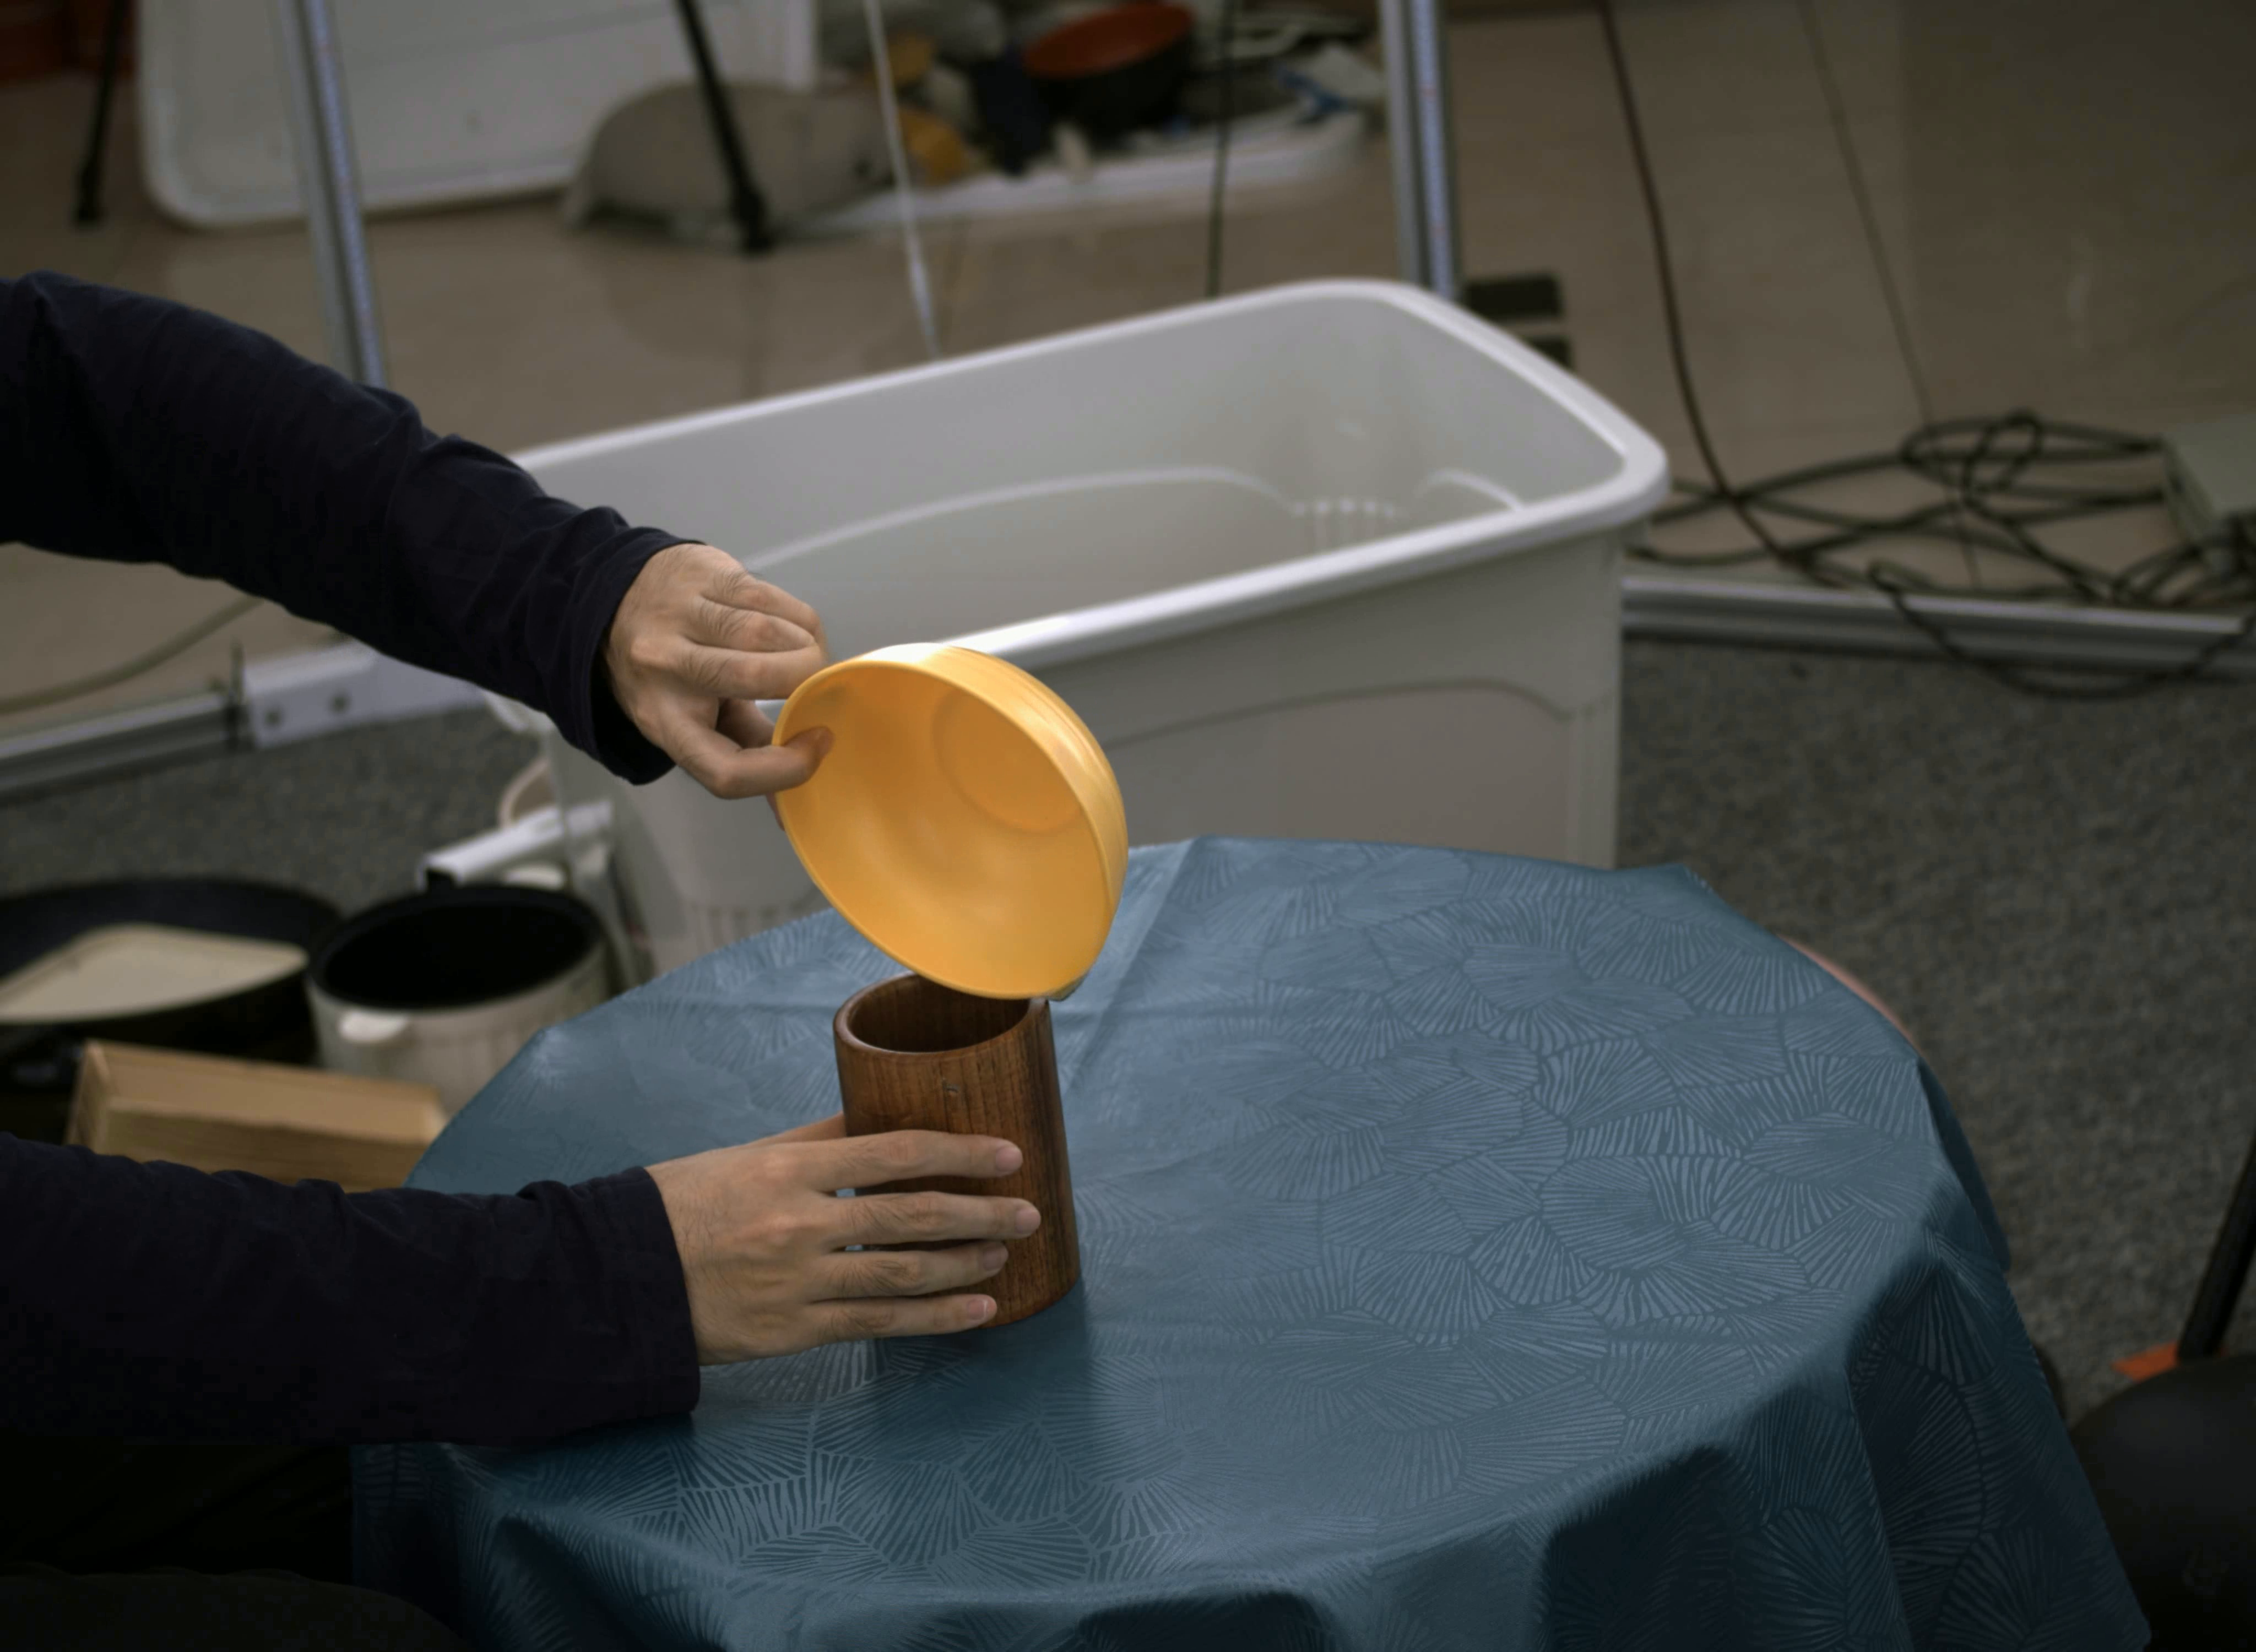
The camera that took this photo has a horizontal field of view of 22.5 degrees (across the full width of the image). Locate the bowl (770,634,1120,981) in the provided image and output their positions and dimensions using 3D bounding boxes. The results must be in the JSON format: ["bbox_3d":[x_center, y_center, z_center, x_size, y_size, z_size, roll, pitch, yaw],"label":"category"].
[{"bbox_3d":[-0.054,-0.019,2.048,0.144,0.148,0.059,13,46,35],"label":"bowl"}]

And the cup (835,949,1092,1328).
[{"bbox_3d":[-0.059,0.114,2.074,0.087,0.120,0.086,-6,22,2],"label":"cup"}]
